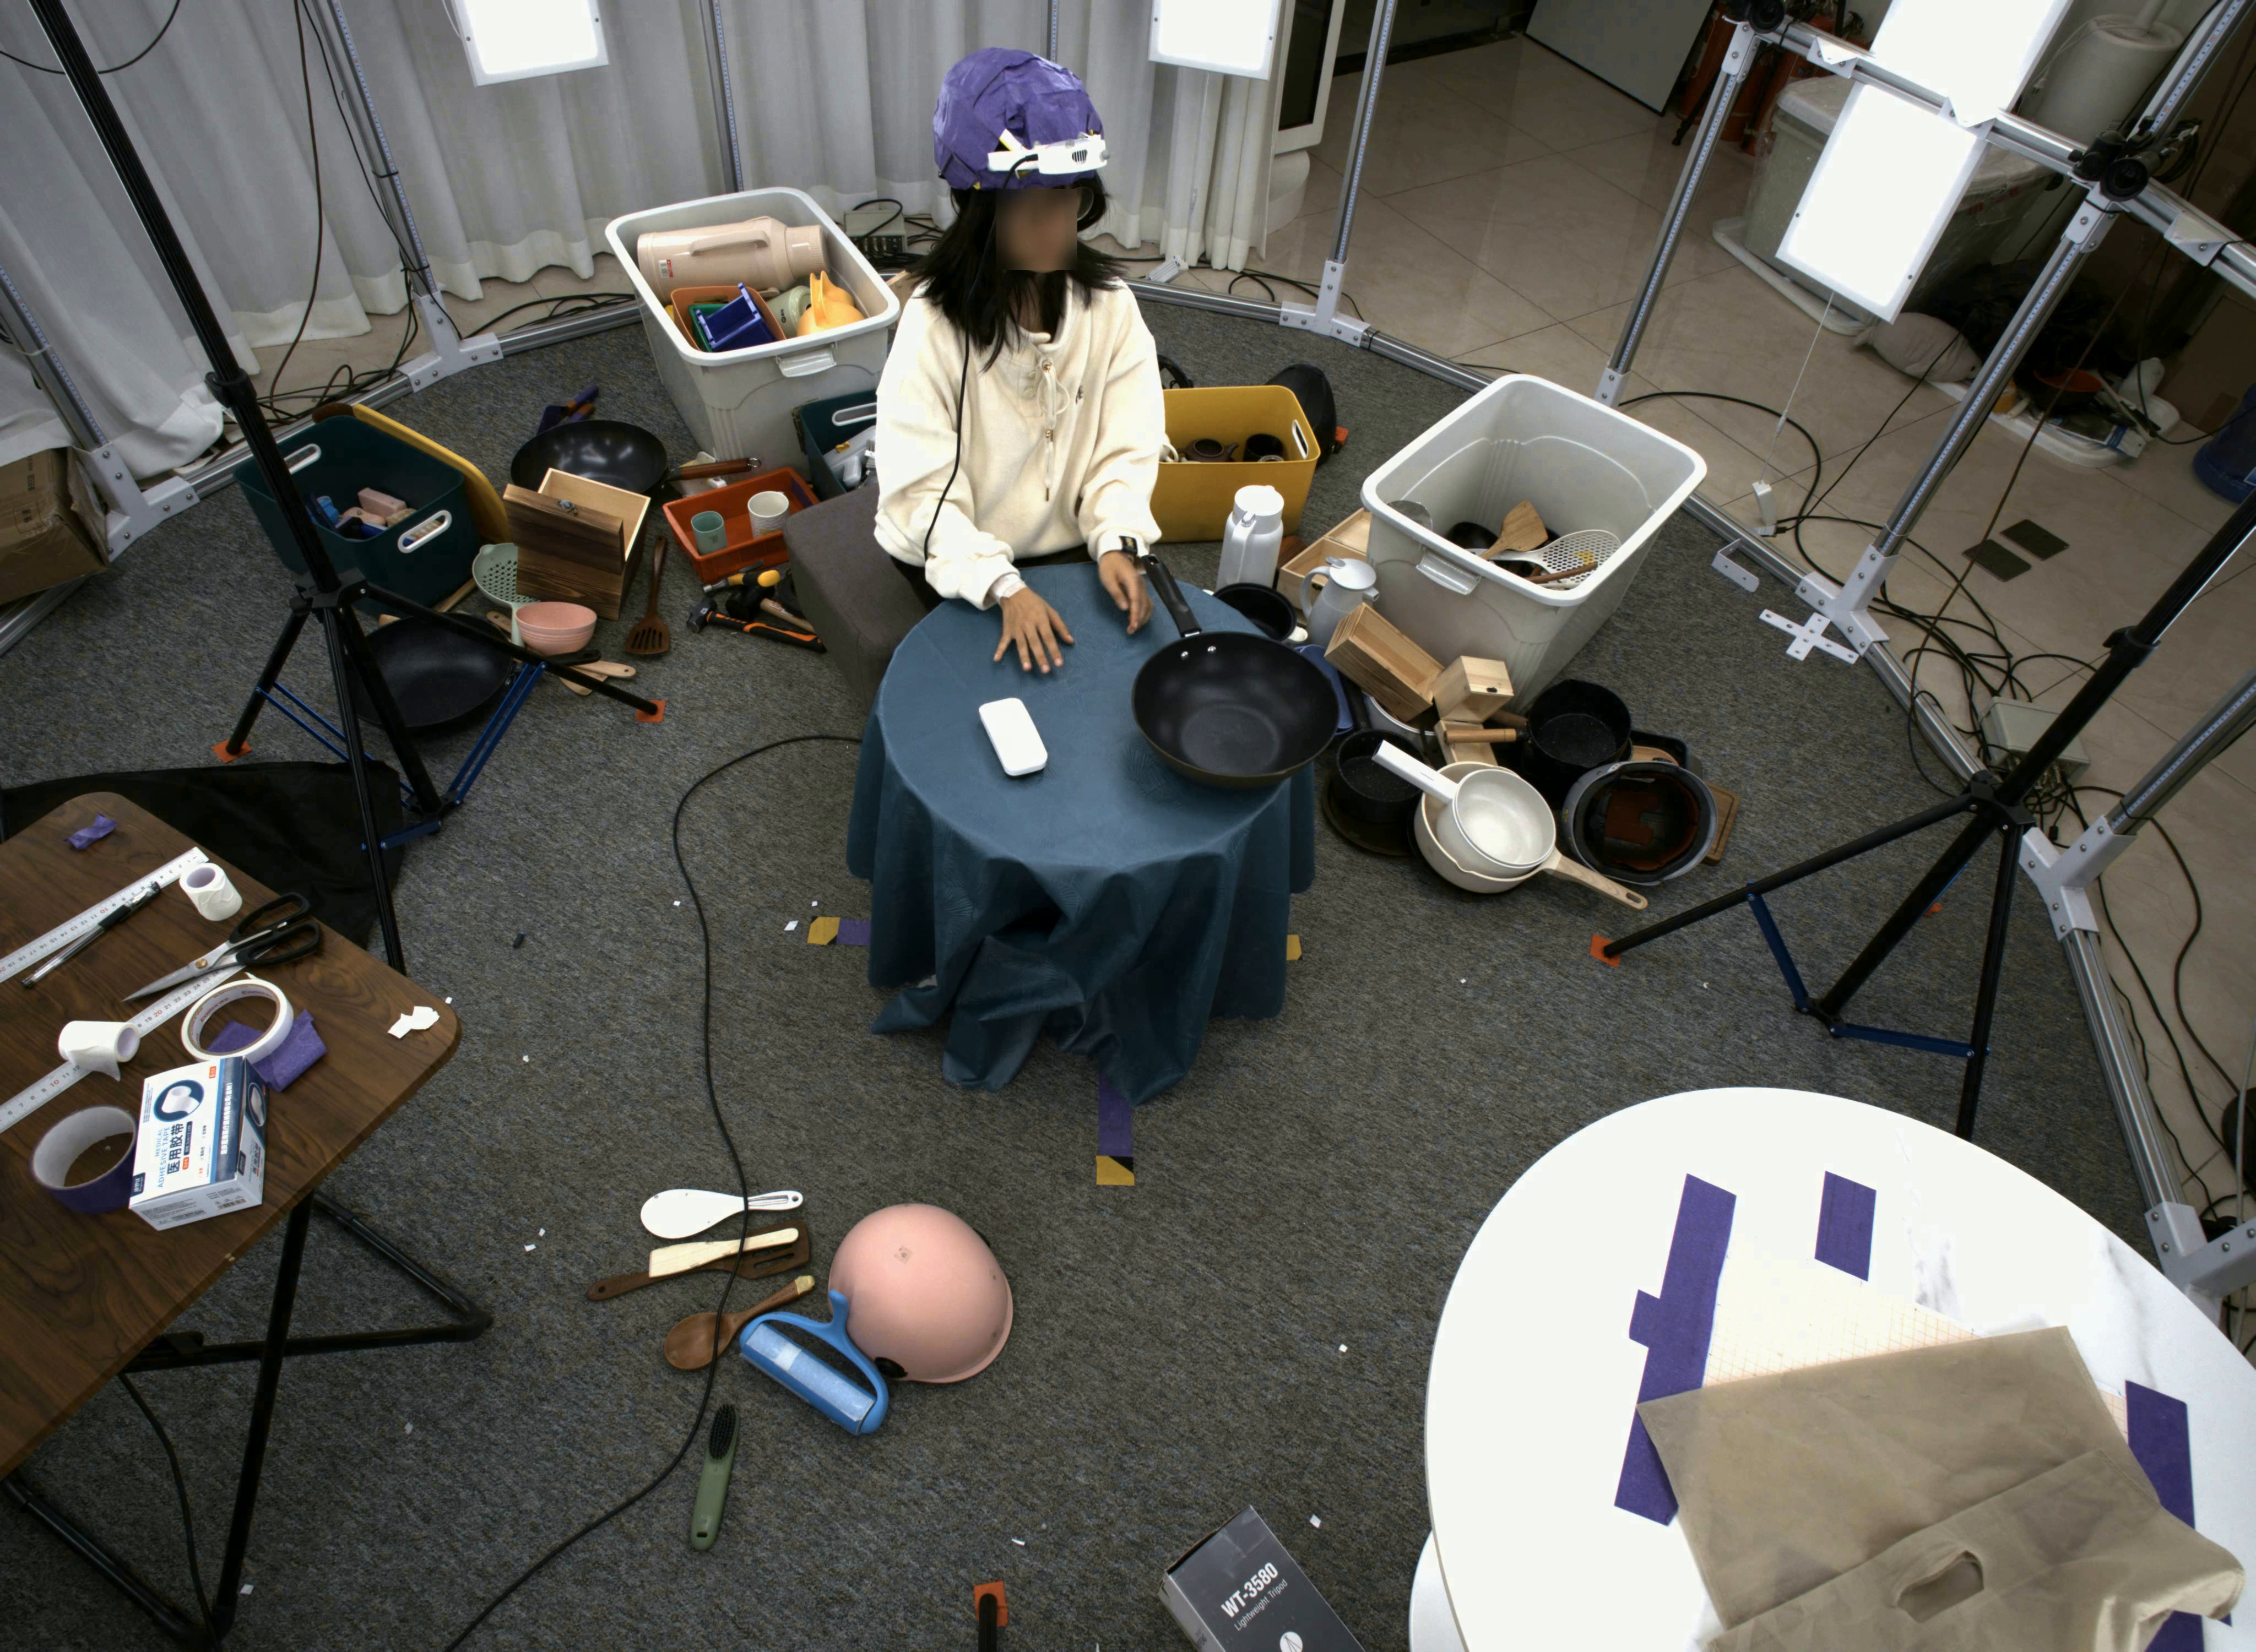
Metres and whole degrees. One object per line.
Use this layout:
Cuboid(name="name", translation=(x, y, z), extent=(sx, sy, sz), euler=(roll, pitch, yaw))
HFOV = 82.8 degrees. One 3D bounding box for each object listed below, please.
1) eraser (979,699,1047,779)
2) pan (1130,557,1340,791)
Cuboid(name="eraser", translation=(-0.156, -0.121, 1.745), extent=(0.063, 0.034, 0.134), euler=(-13, 52, -18))
Cuboid(name="pan", translation=(0.111, -0.210, 1.807), extent=(0.288, 0.085, 0.474), euler=(-13, 50, -15))
